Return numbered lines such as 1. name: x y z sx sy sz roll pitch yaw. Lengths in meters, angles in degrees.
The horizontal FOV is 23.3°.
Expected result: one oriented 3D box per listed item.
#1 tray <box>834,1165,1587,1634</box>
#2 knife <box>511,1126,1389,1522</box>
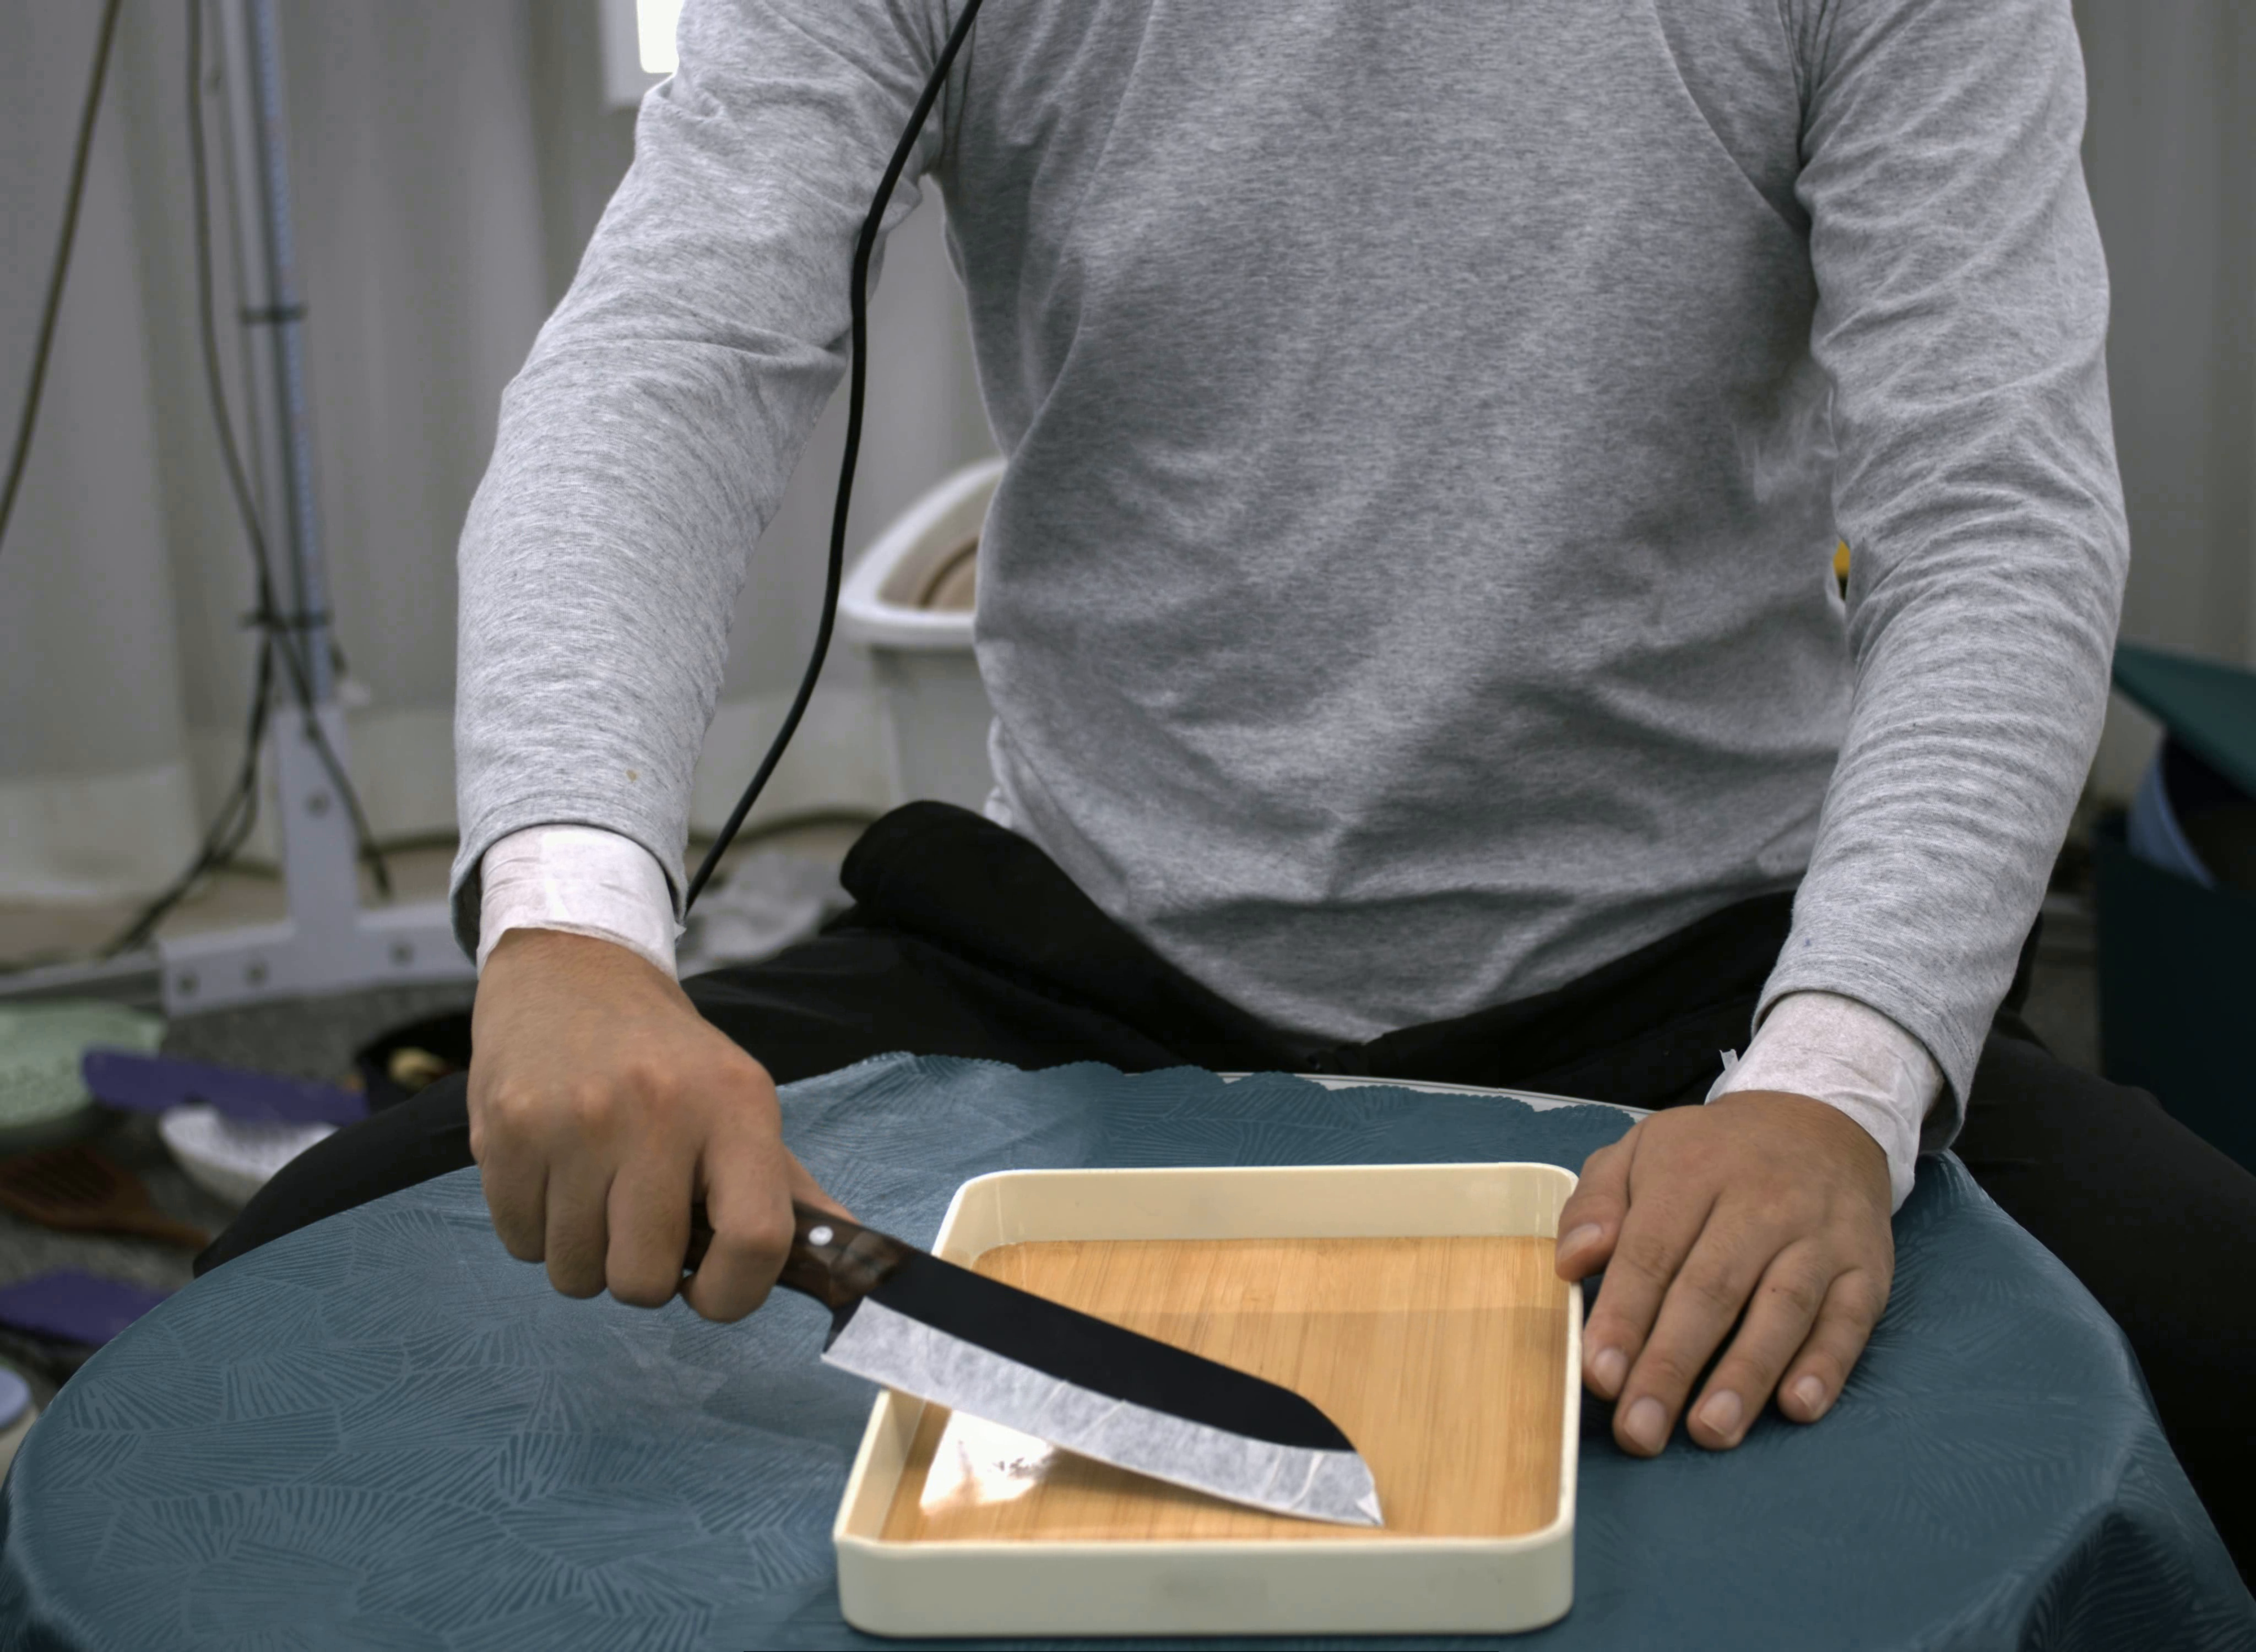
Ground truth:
1. tray: 0.031 0.154 1.512 0.191 0.027 0.302 -1 15 6
2. knife: -0.053 0.136 1.495 0.290 0.020 0.050 19 53 27
